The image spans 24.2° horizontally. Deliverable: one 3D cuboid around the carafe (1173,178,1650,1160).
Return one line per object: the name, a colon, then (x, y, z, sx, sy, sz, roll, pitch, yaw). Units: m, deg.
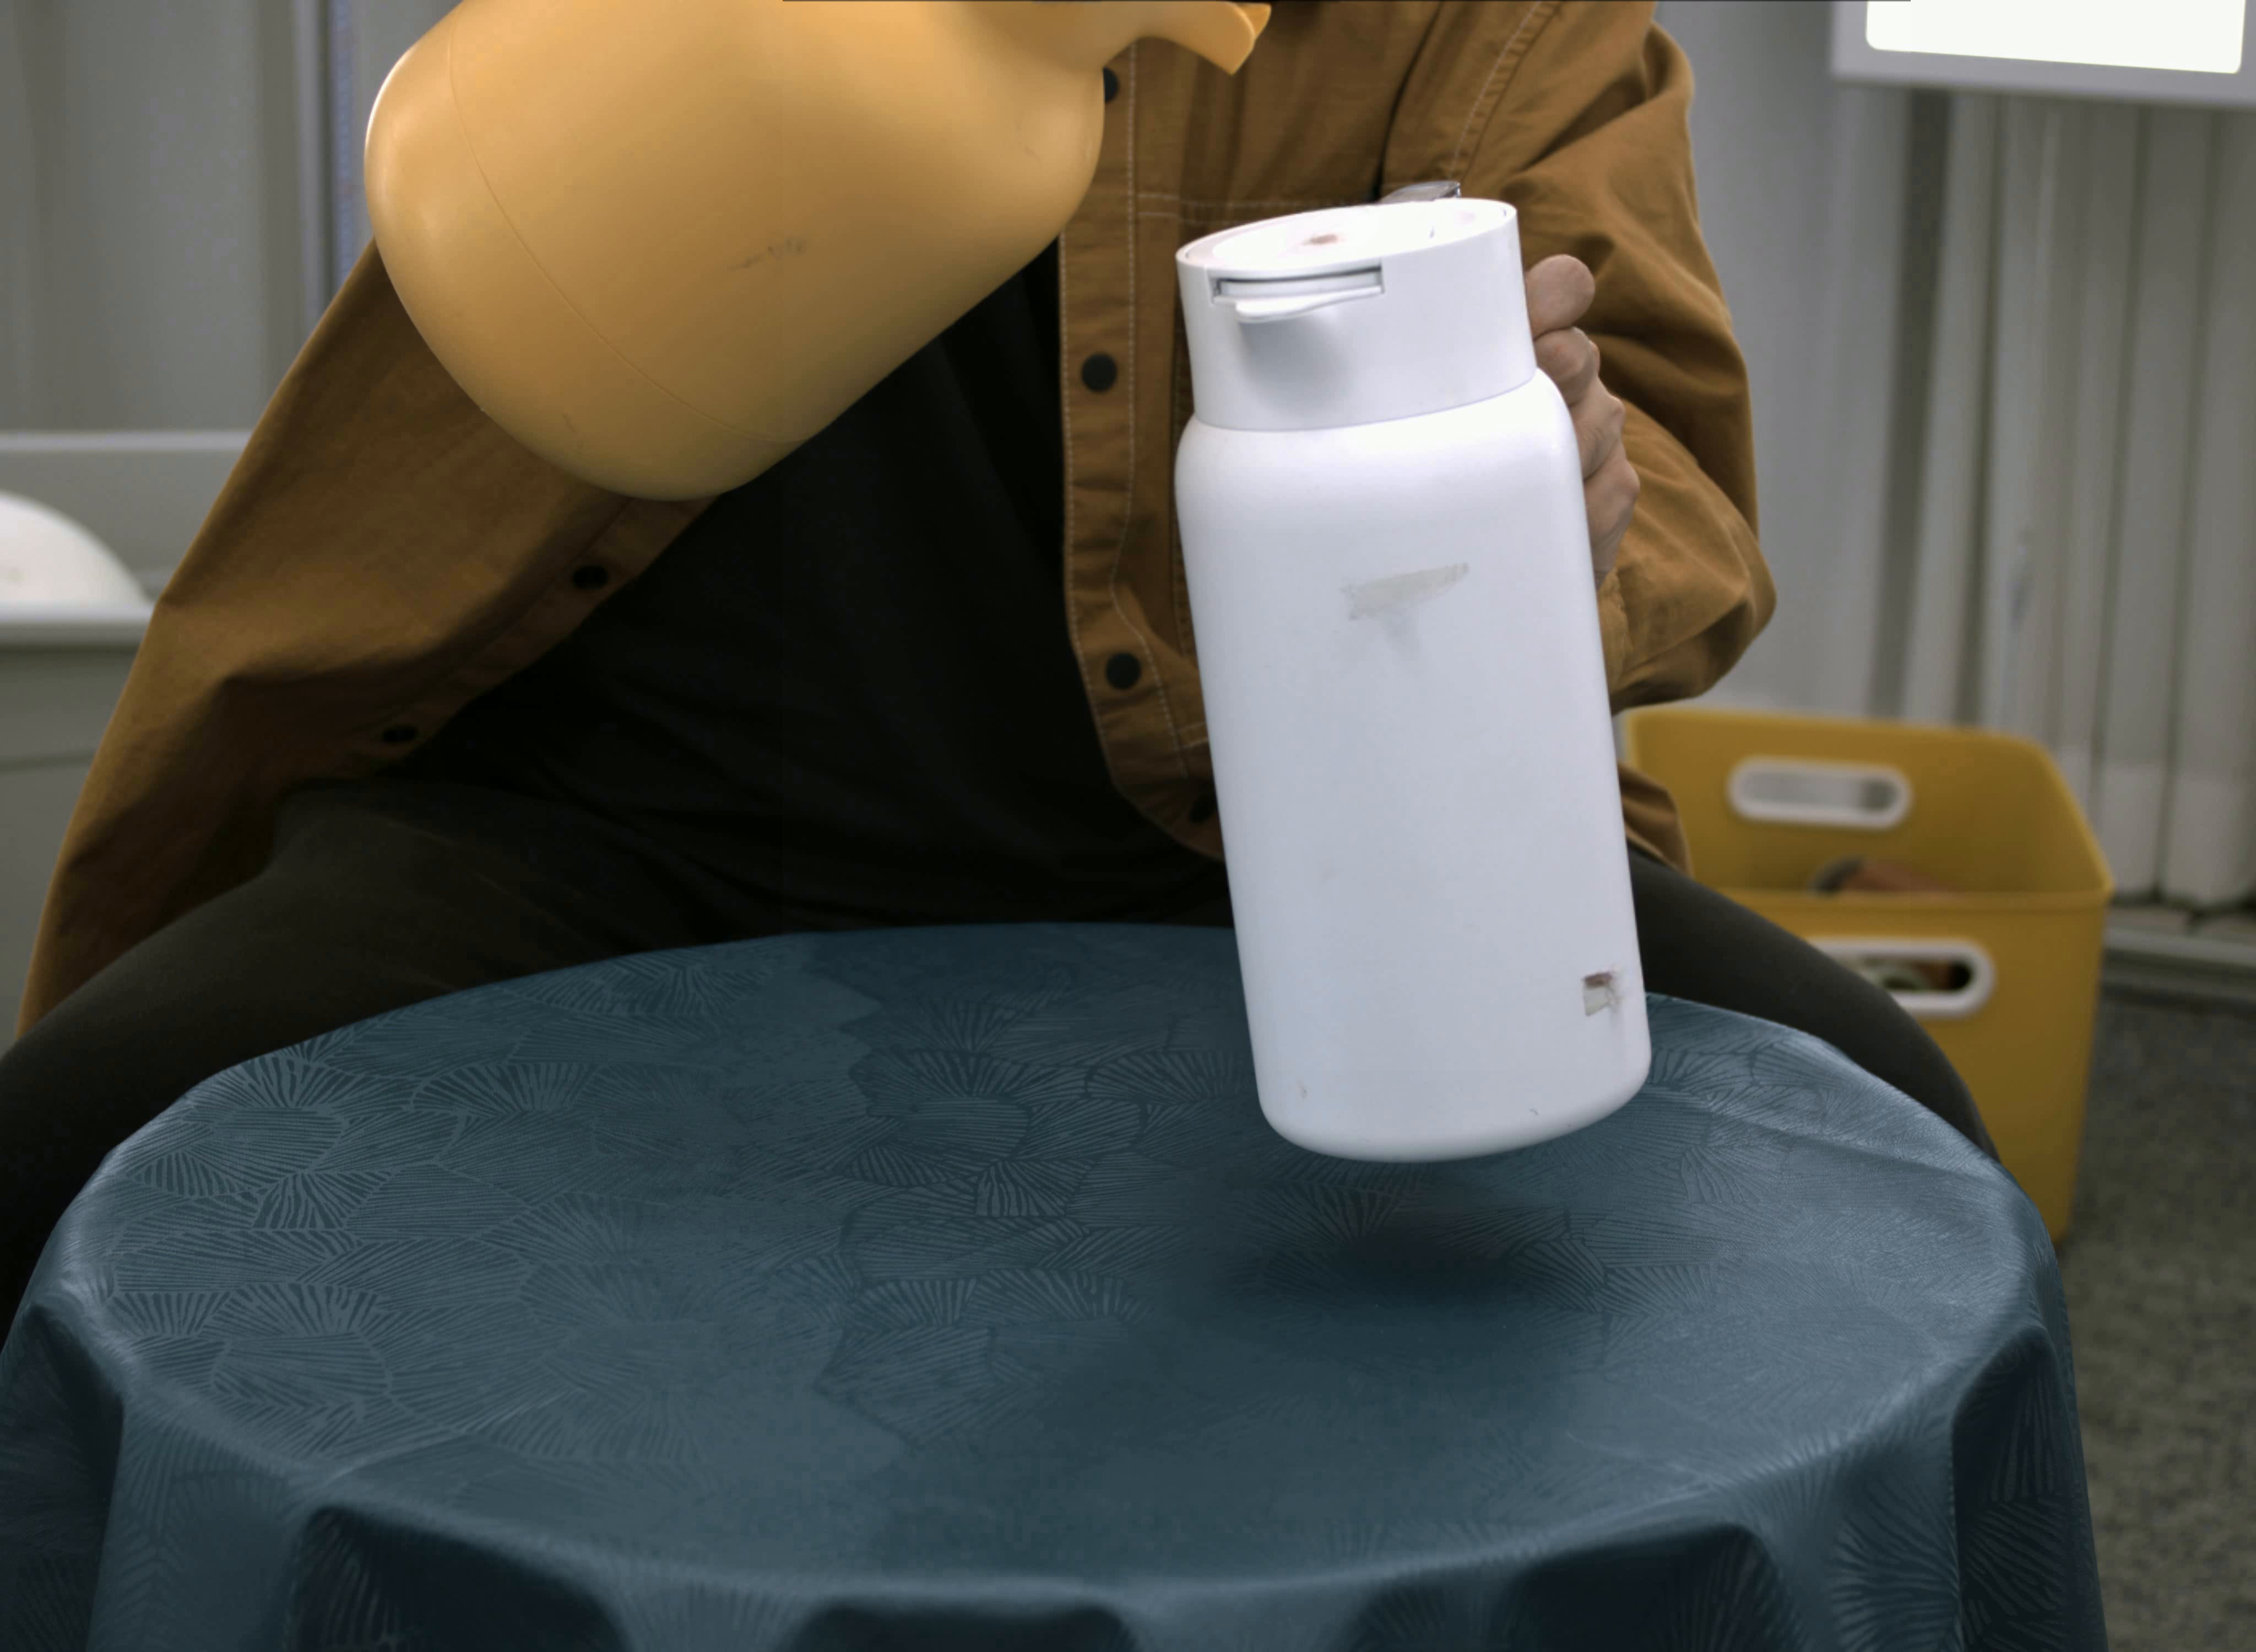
carafe: (0.085, -0.050, 1.540, 0.122, 0.271, 0.173, -3, 16, 24)

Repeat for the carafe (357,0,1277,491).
carafe: (-0.099, -0.237, 1.505, 0.260, 0.204, 0.163, -34, 13, 22)
